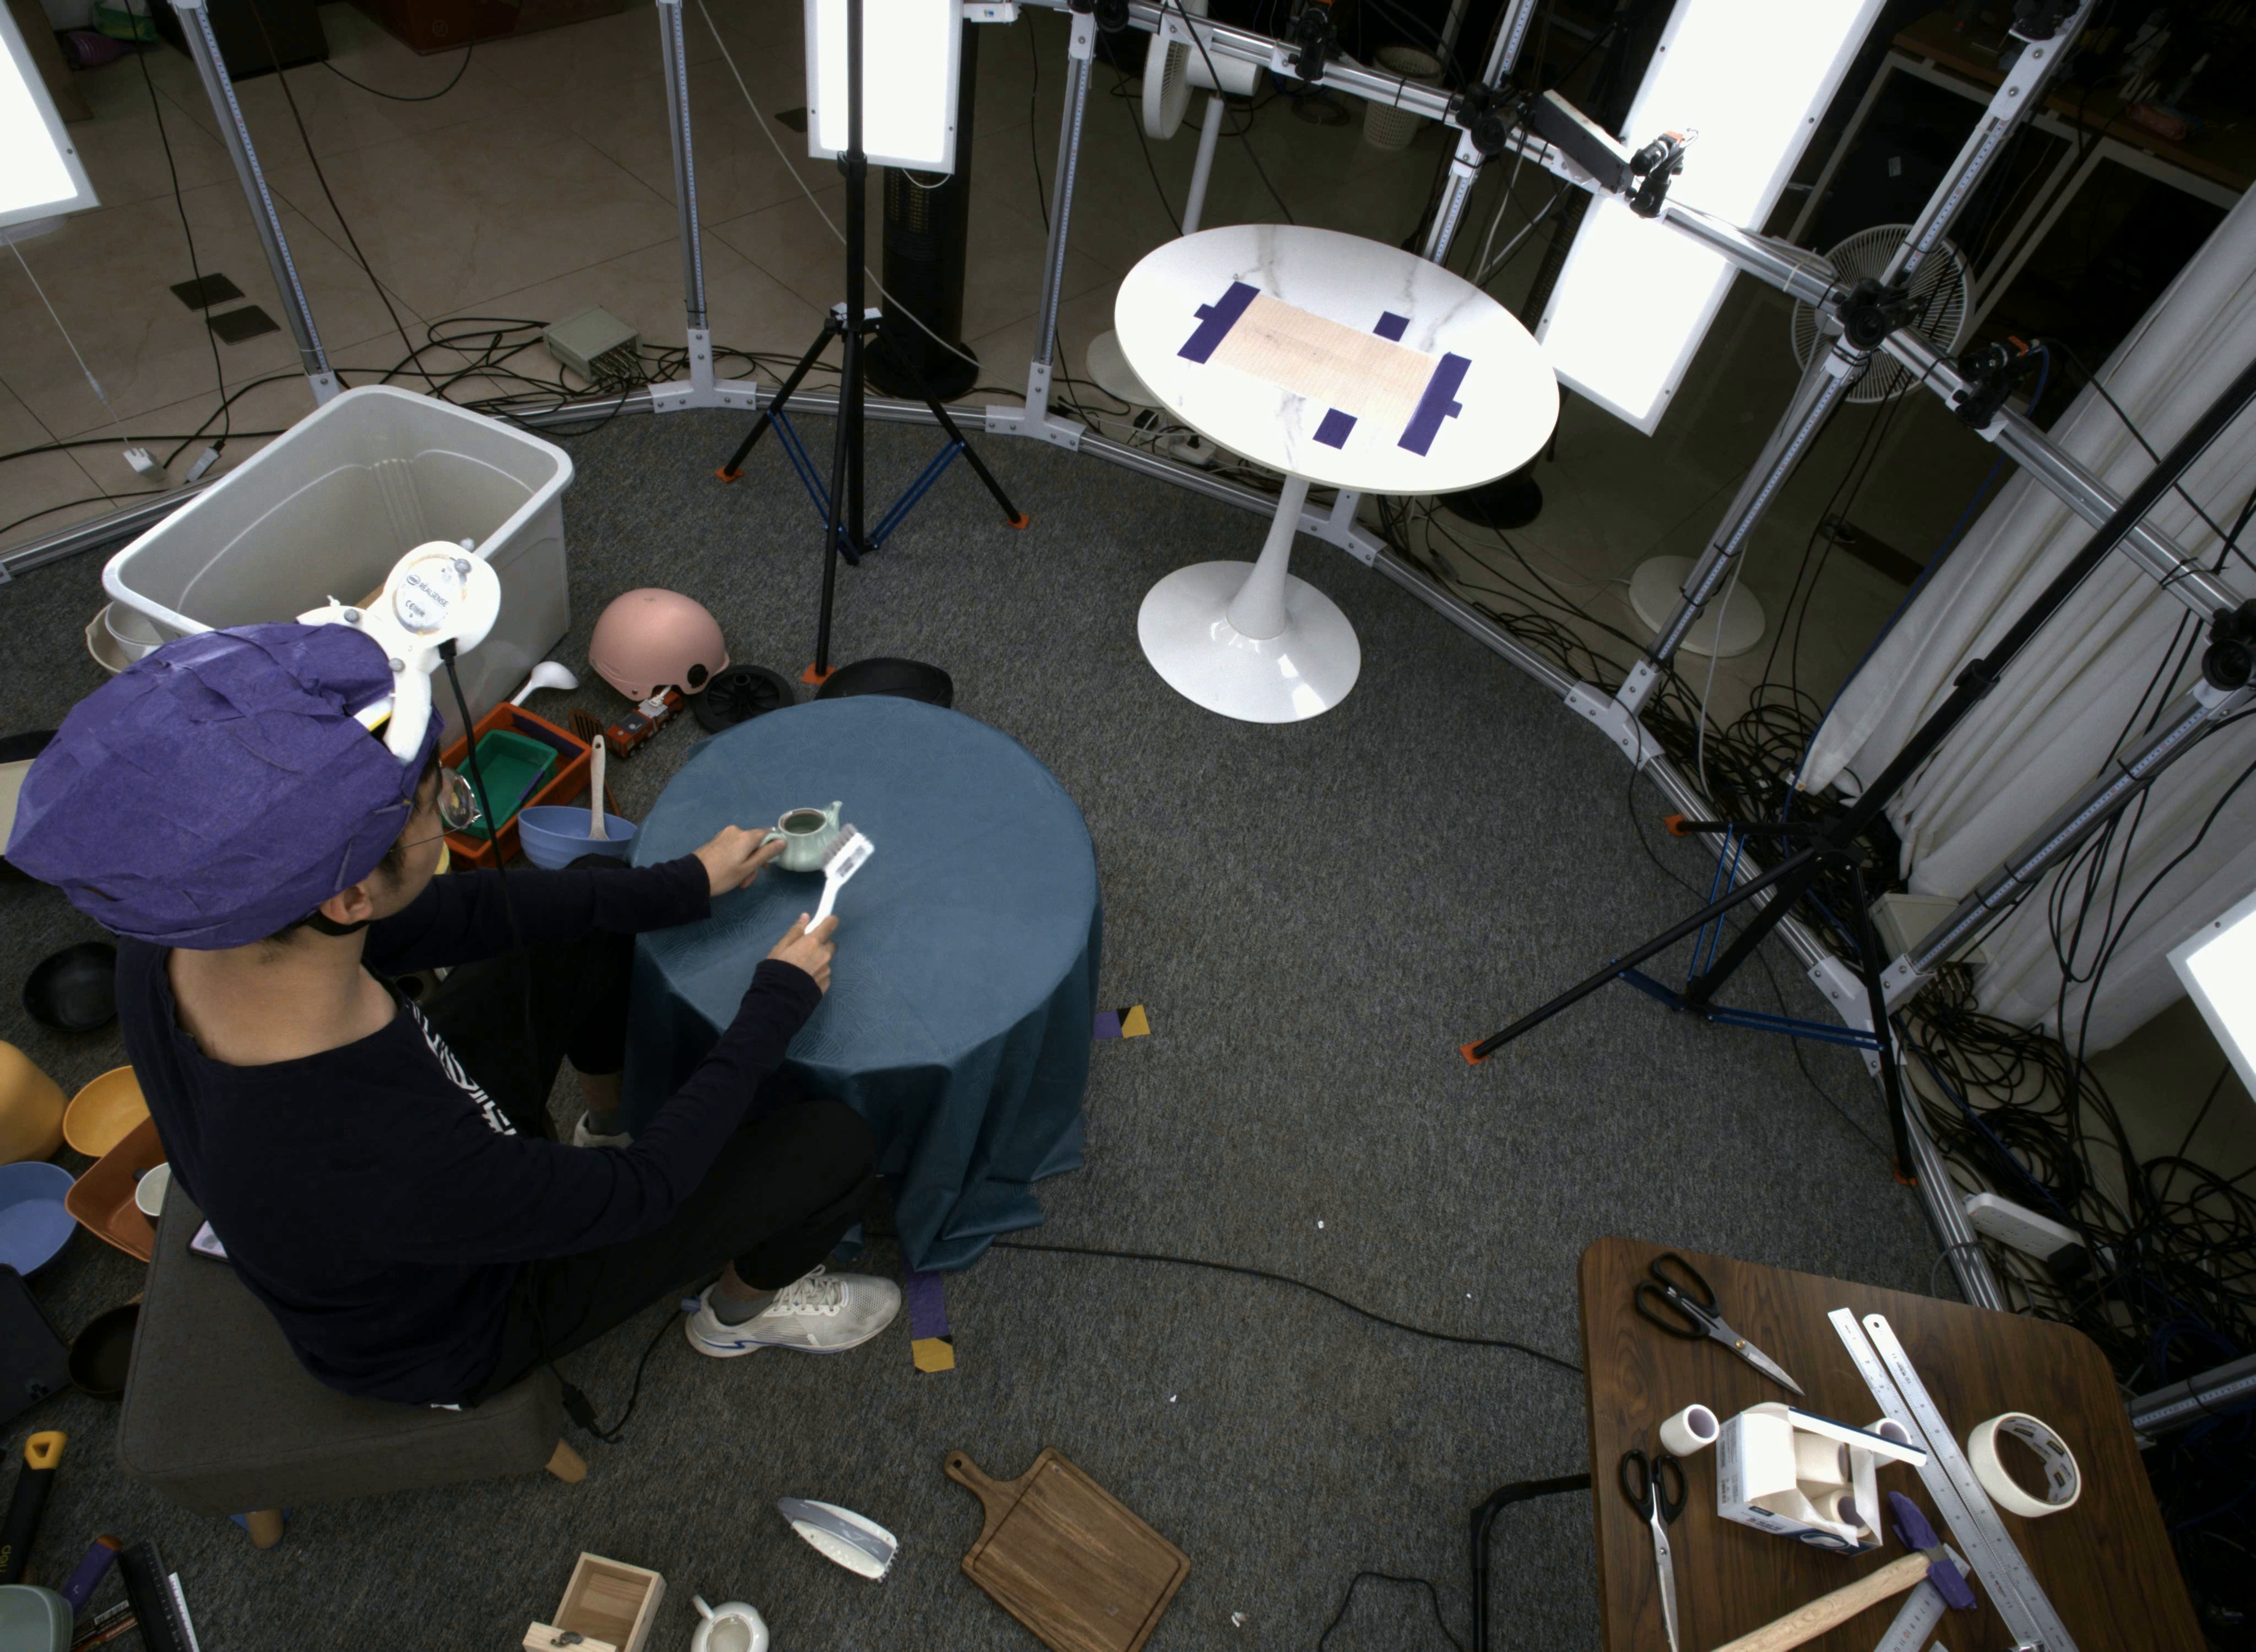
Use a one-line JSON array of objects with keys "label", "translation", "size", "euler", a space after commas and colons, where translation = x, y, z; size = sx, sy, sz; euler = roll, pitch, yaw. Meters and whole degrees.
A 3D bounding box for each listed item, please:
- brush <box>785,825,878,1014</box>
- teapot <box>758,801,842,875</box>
[{"label": "brush", "translation": [-0.370, 0.108, 1.559], "size": [0.049, 0.035, 0.243], "euler": [14, 66, 19]}, {"label": "teapot", "translation": [-0.419, 0.018, 1.664], "size": [0.093, 0.063, 0.137], "euler": [29, 40, 25]}]
